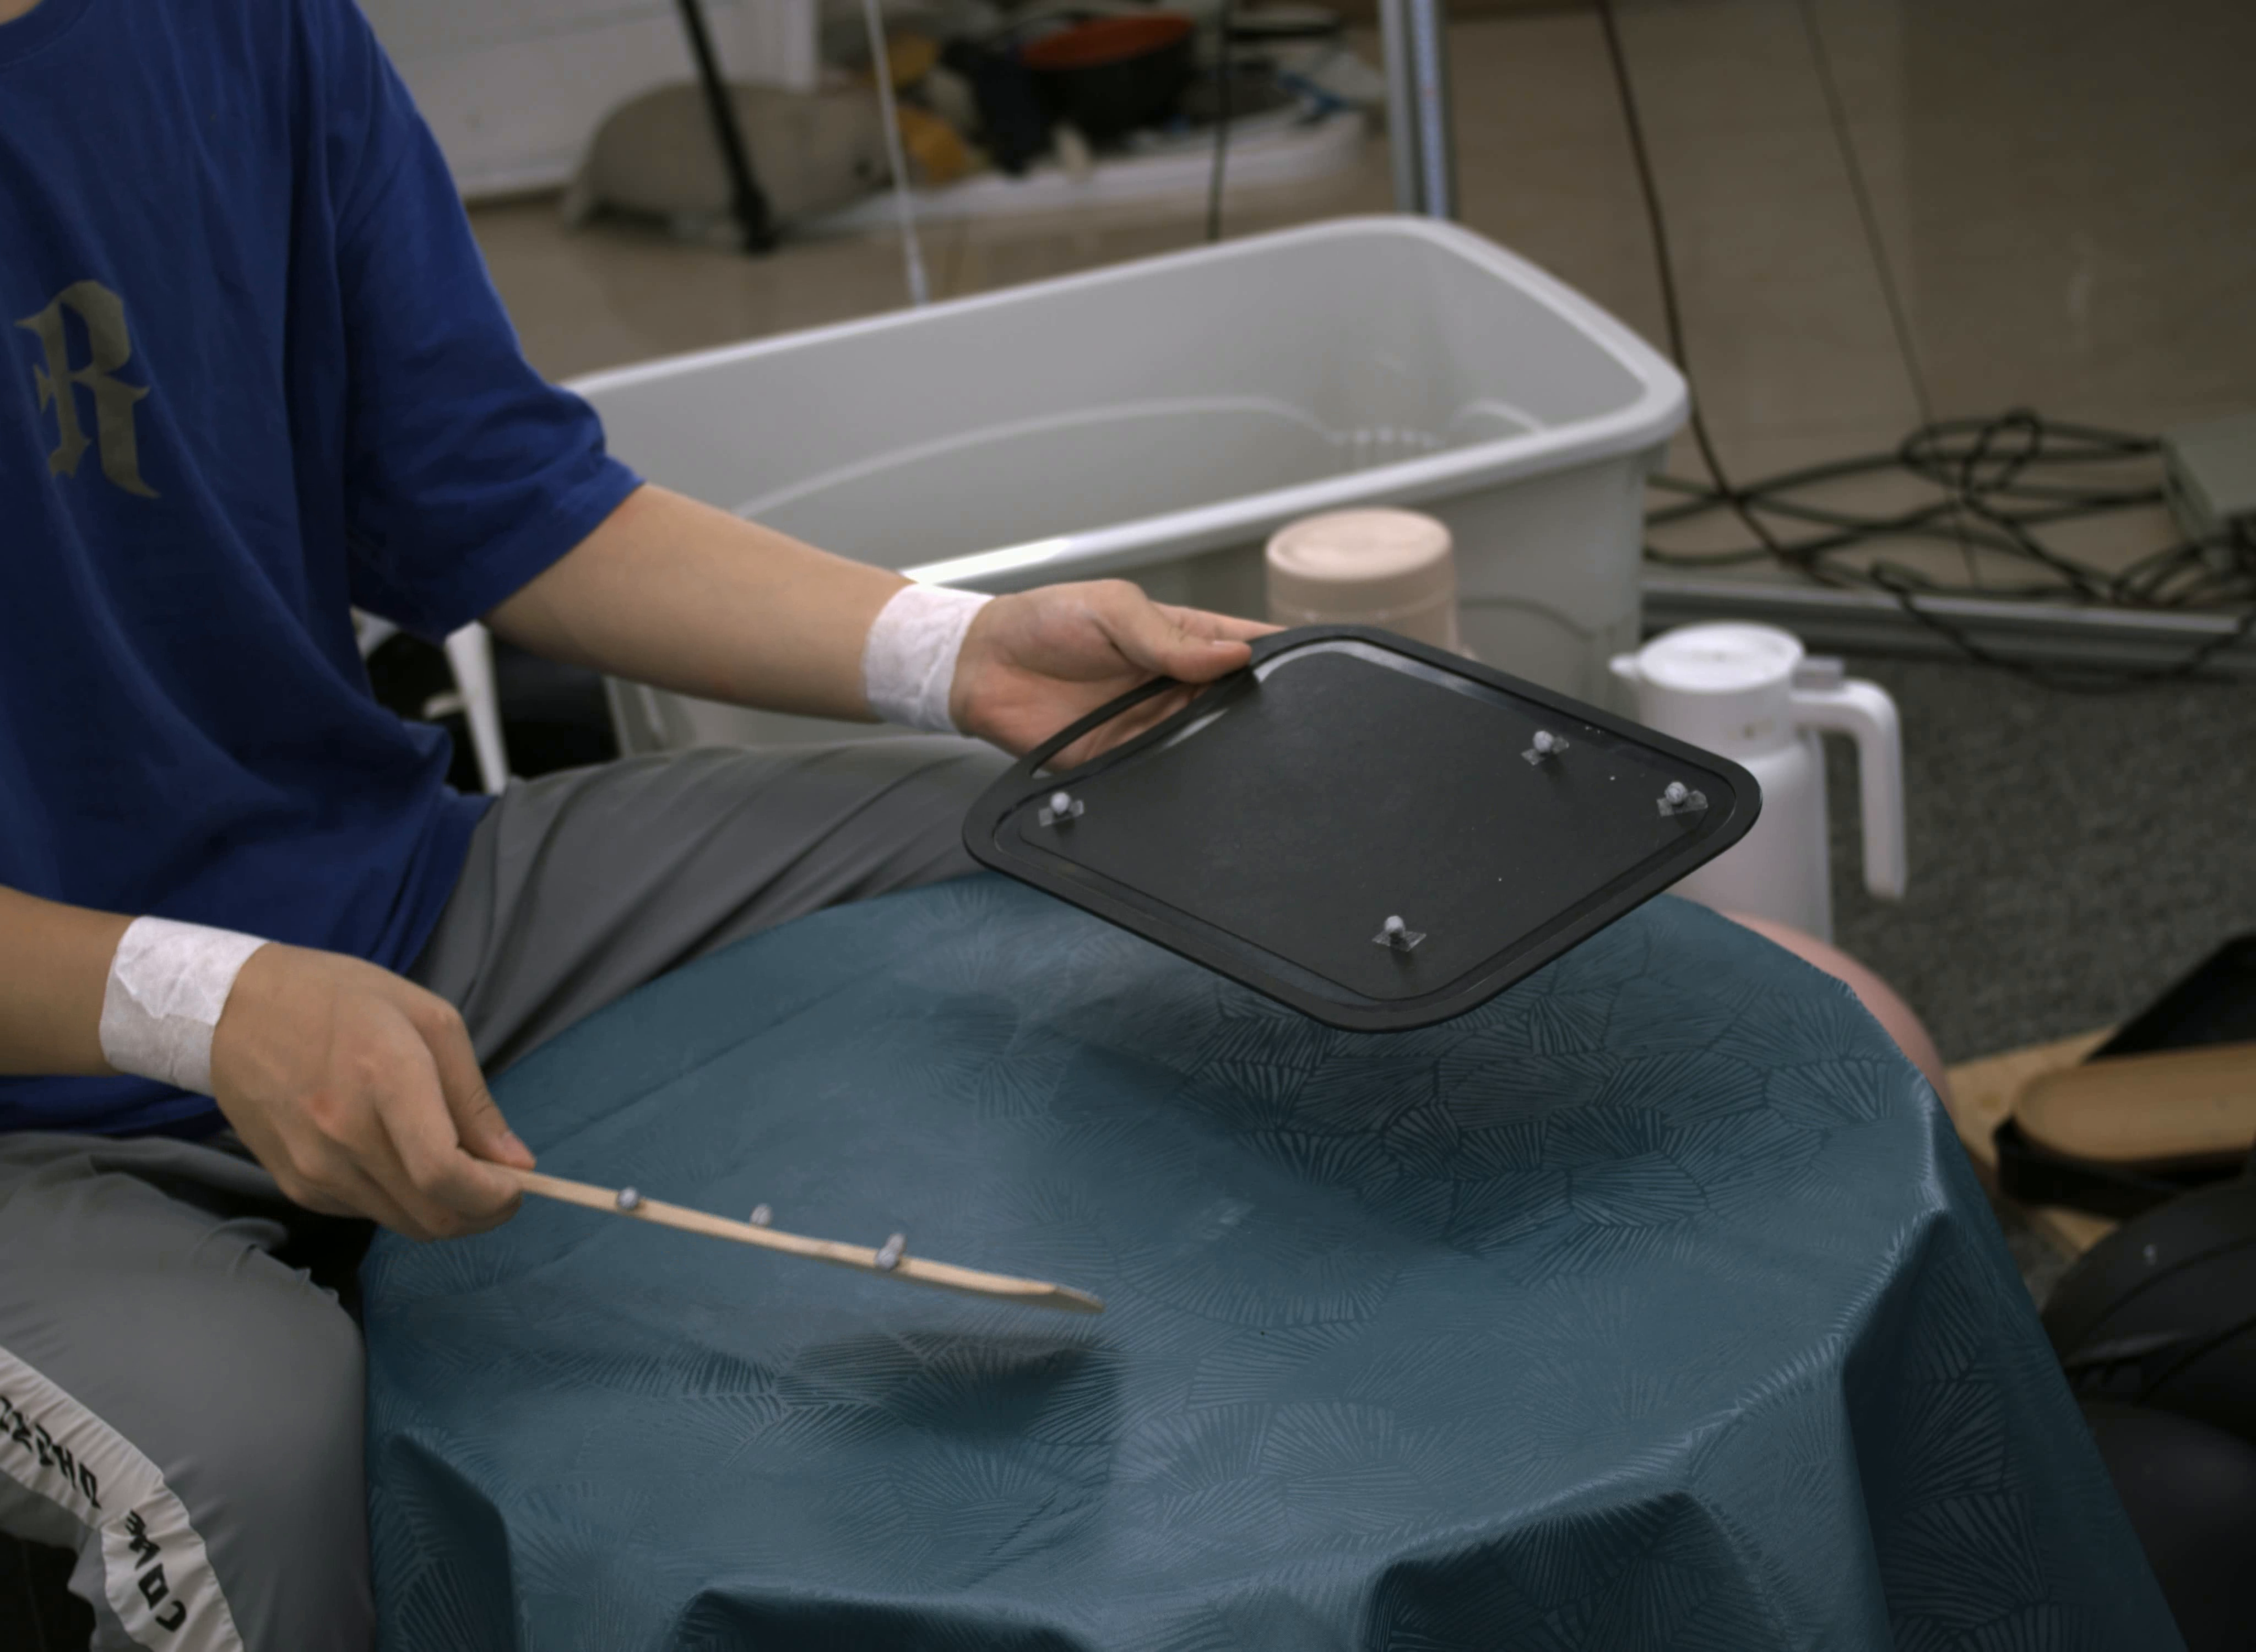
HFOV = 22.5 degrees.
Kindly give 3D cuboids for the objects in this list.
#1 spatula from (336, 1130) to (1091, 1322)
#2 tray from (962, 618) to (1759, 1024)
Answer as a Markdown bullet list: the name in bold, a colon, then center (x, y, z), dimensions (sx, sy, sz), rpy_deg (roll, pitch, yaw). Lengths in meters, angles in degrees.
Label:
- **spatula**: center (-0.157, 0.144, 2.059), dimensions (0.292, 0.010, 0.073), rpy_deg (12, -7, 18)
- **tray**: center (0.080, -0.010, 2.211), dimensions (0.209, 0.010, 0.322), rpy_deg (-31, 32, -25)
